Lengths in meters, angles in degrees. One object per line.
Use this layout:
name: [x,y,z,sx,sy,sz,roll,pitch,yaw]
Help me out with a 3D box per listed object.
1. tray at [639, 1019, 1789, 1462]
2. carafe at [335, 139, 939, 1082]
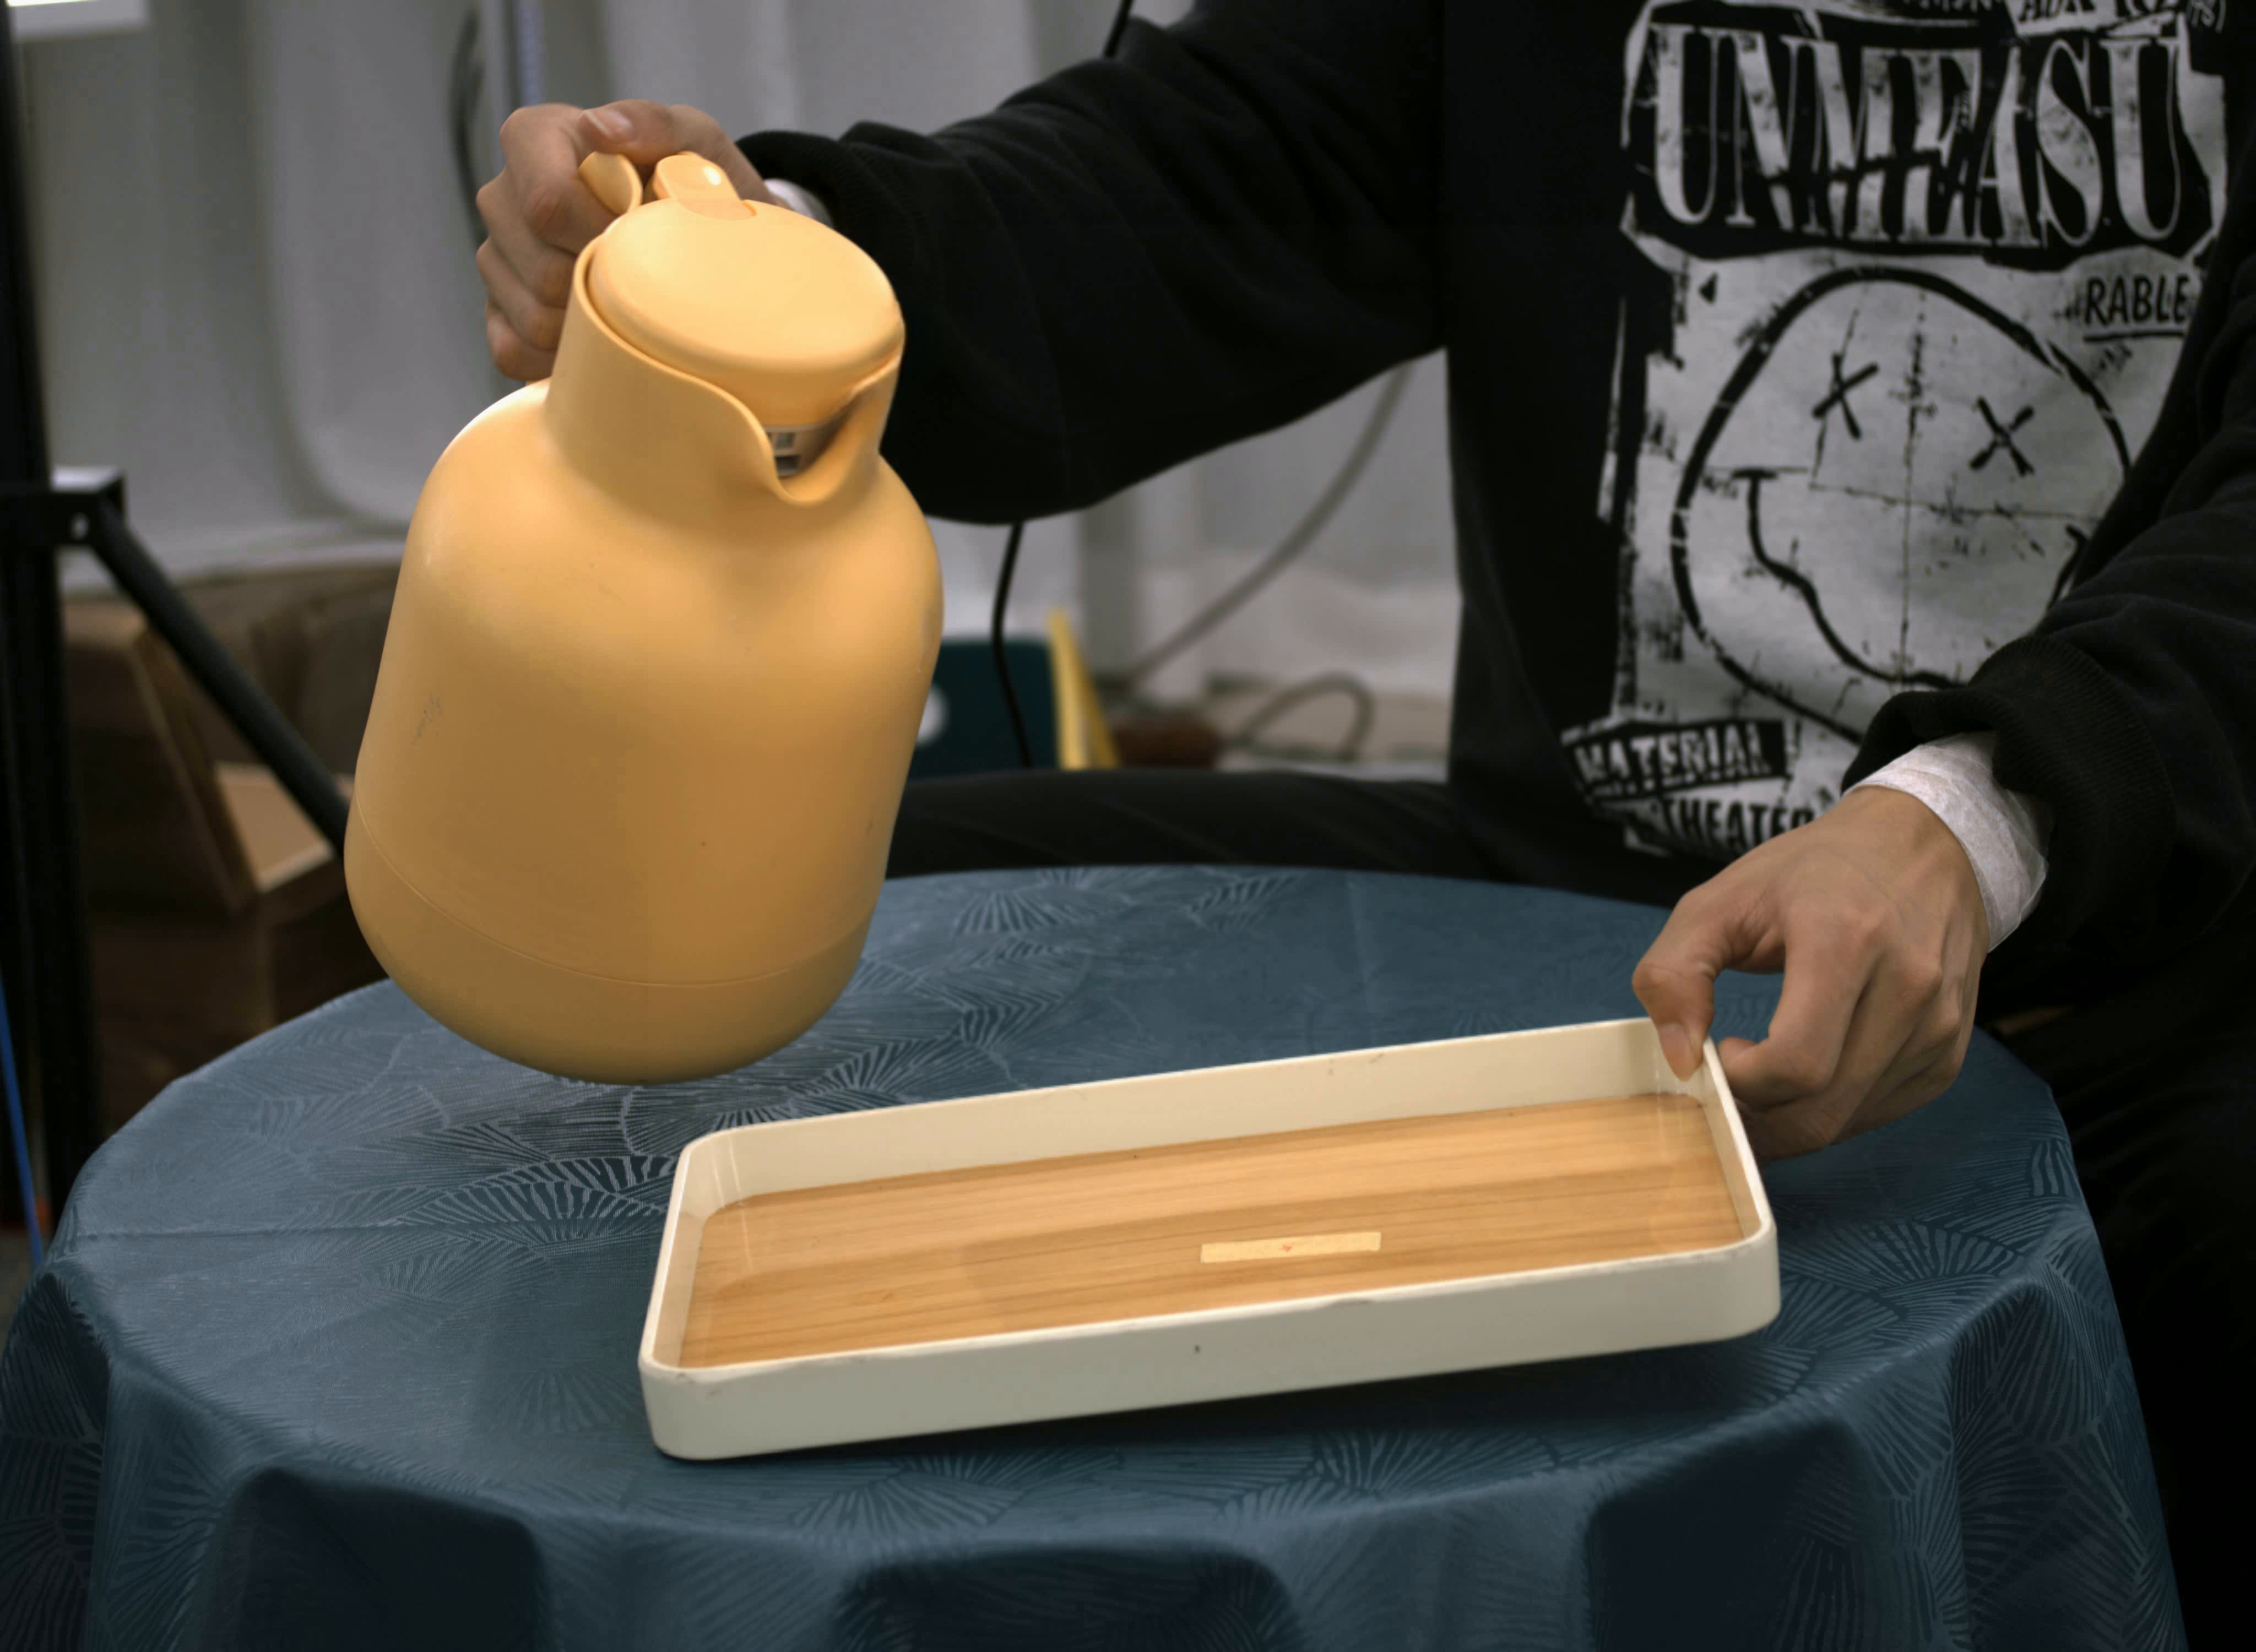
tray: [0.022,0.111,1.446,0.299,0.027,0.192,-7,17,3]
carafe: [-0.142,-0.073,1.598,0.160,0.261,0.206,3,37,-22]
